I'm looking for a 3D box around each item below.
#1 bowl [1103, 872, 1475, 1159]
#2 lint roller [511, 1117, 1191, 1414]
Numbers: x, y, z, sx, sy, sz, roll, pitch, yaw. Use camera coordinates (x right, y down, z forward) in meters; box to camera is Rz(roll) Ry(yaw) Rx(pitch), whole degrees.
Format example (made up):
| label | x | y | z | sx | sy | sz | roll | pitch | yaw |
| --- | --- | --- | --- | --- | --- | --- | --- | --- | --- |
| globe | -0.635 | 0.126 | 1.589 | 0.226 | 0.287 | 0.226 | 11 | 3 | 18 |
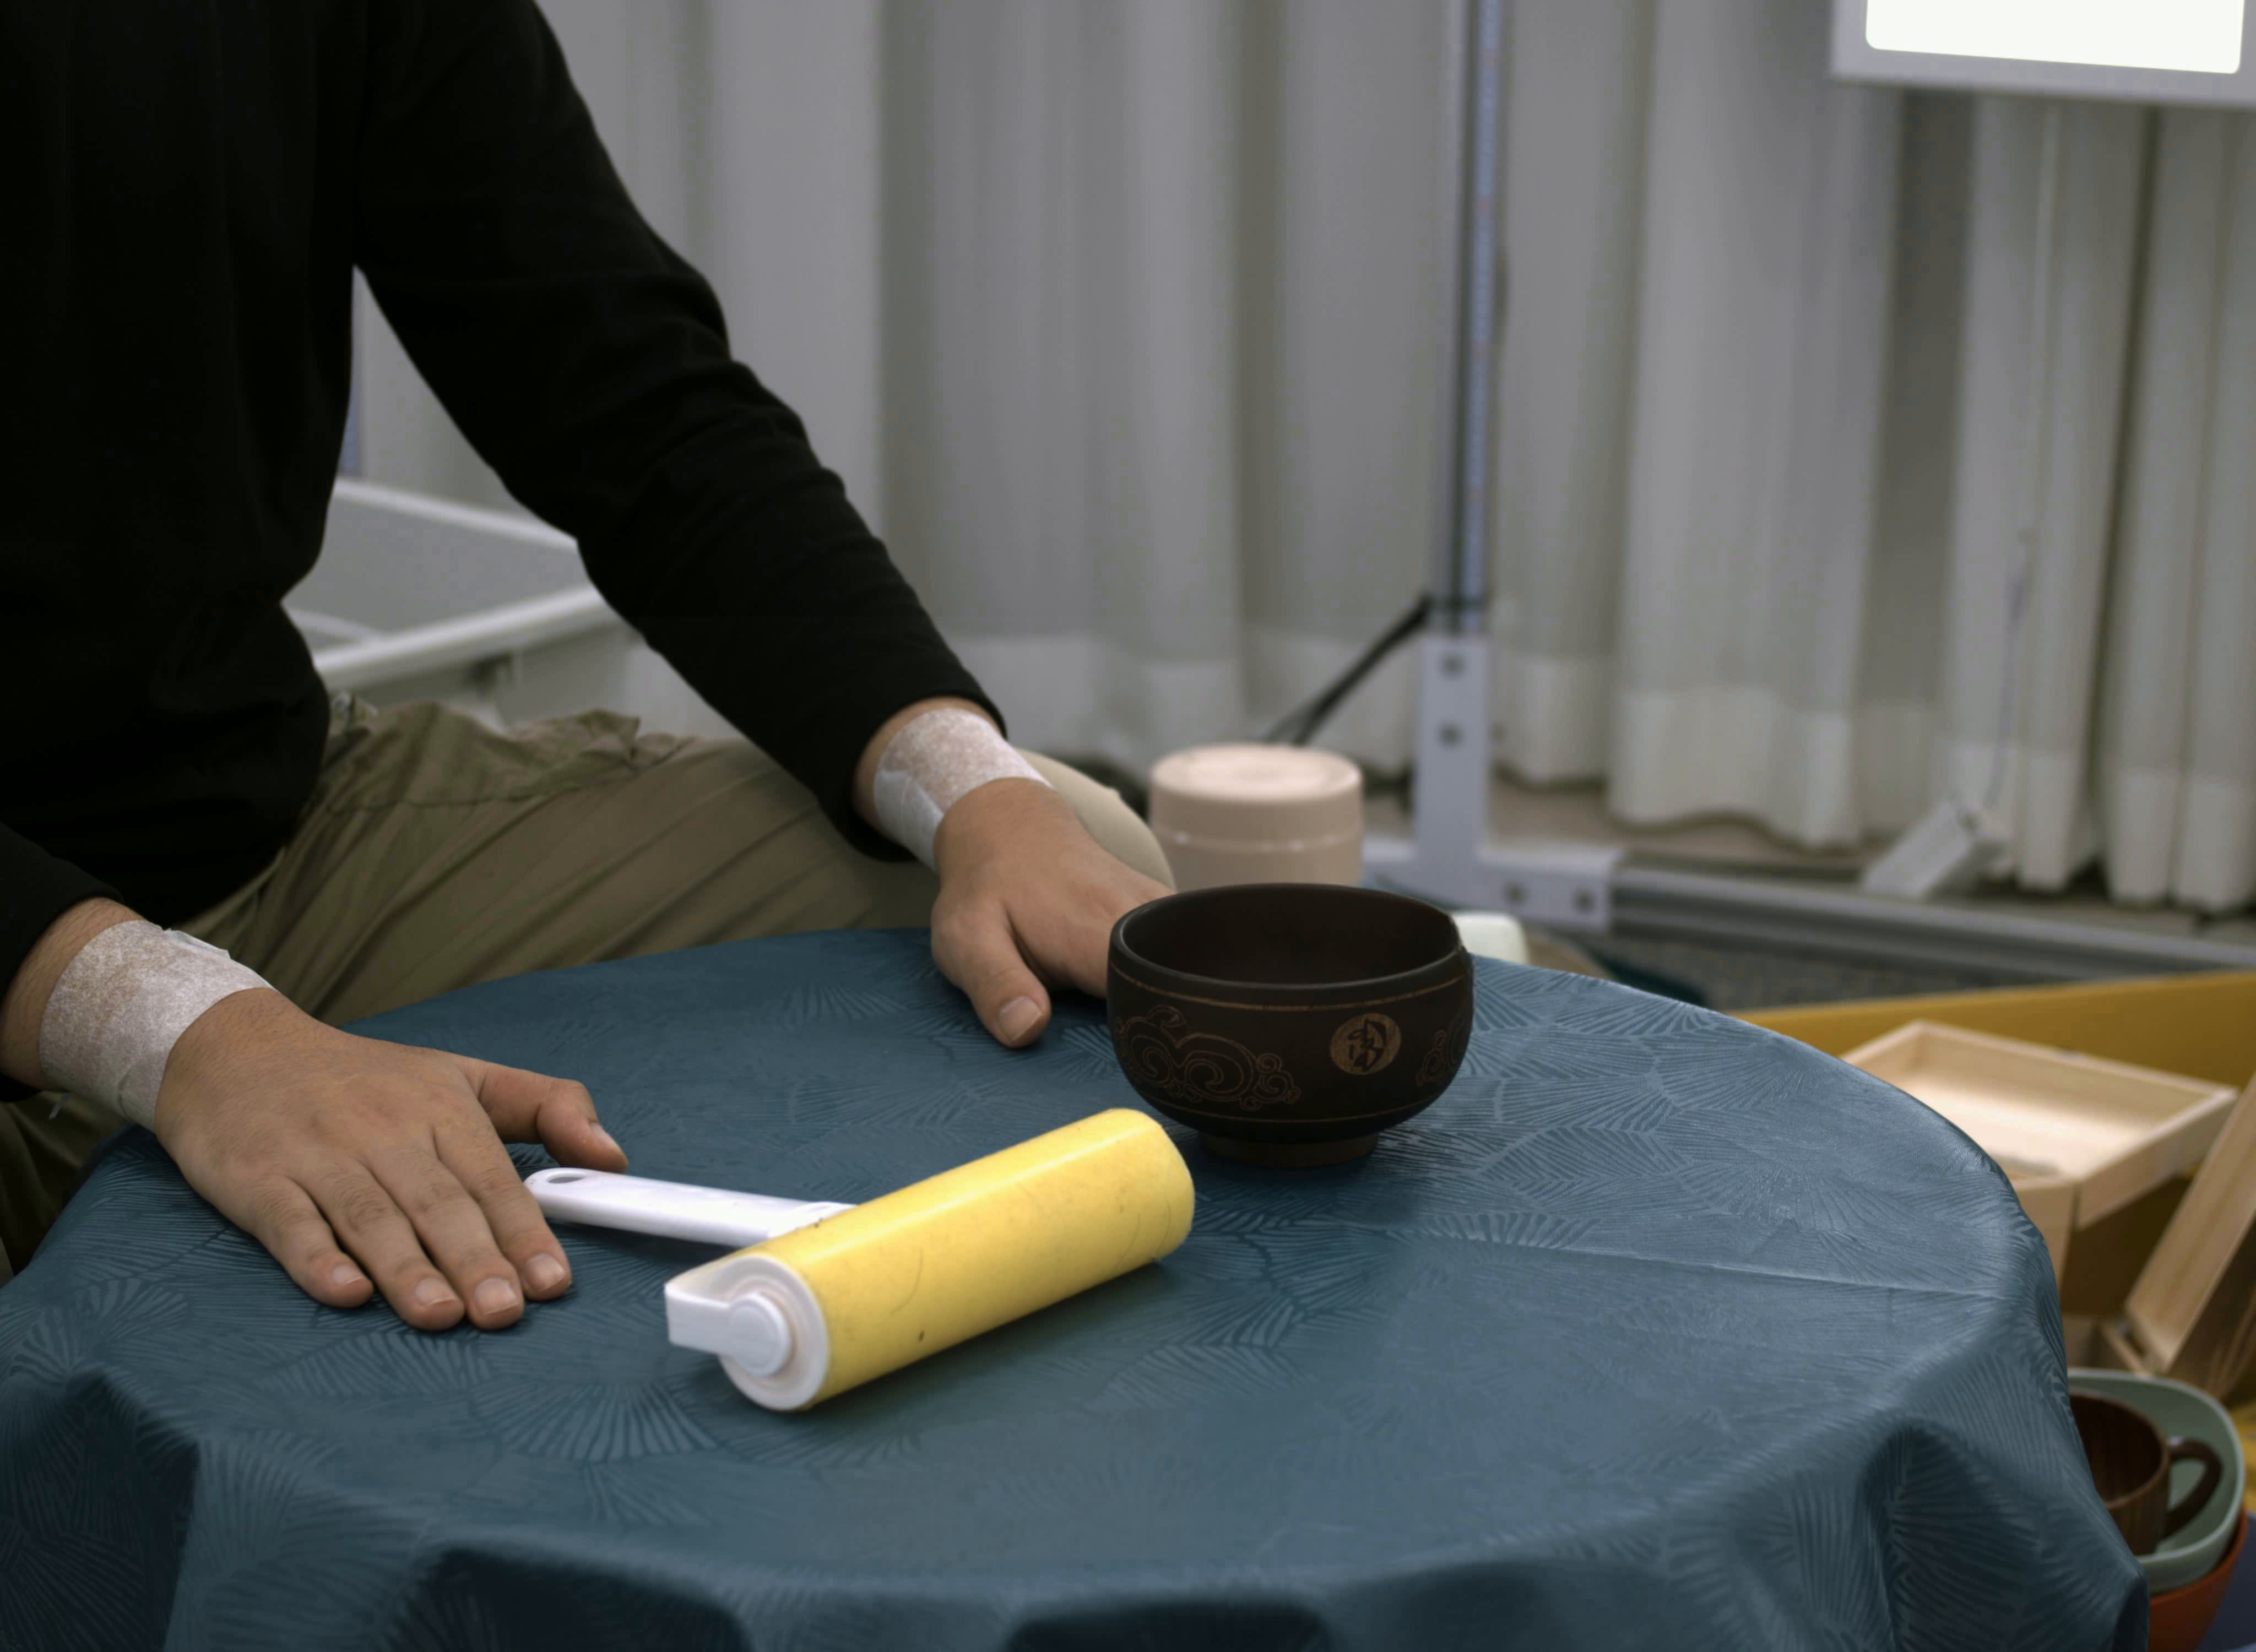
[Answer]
| label | x | y | z | sx | sy | sz | roll | pitch | yaw |
| --- | --- | --- | --- | --- | --- | --- | --- | --- | --- |
| bowl | 0.050 | 0.063 | 1.659 | 0.117 | 0.070 | 0.117 | 2 | 16 | 0 |
| lint roller | -0.105 | 0.108 | 1.535 | 0.189 | 0.052 | 0.175 | 17 | 22 | 33 |
